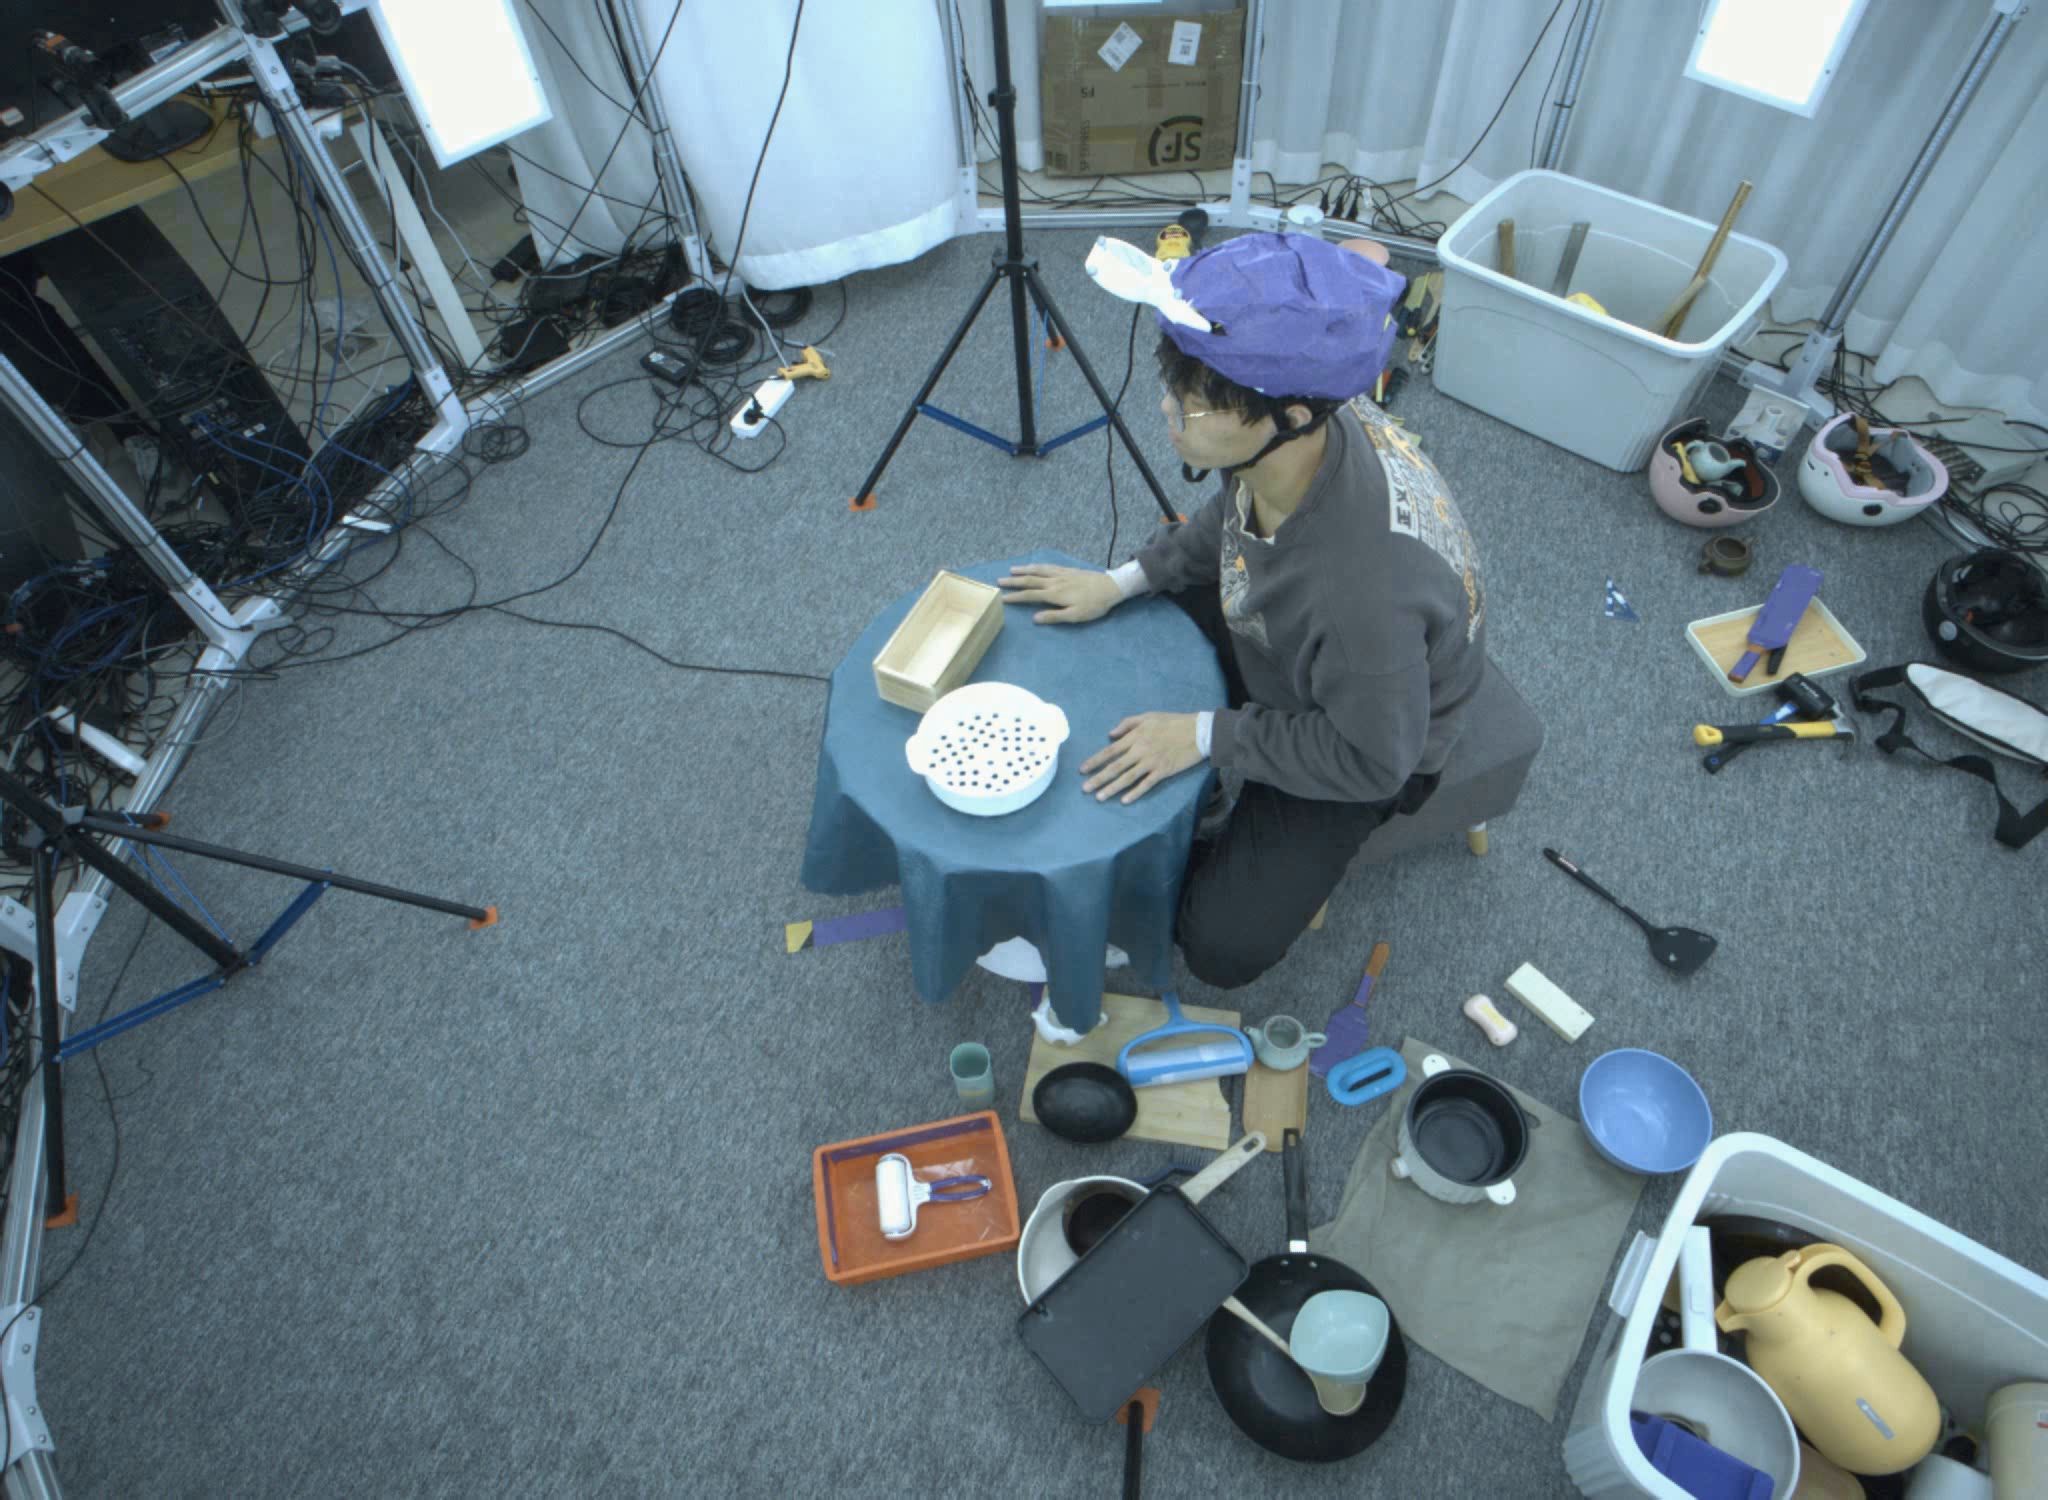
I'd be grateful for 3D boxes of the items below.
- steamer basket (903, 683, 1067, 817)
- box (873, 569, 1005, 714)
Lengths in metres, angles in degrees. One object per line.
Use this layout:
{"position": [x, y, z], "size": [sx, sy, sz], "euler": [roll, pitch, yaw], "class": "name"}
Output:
{"position": [-0.054, 0.002, 1.743], "size": [0.232, 0.070, 0.198], "euler": [-12, 55, -8], "class": "steamer basket"}
{"position": [-0.126, -0.162, 1.856], "size": [0.106, 0.081, 0.211], "euler": [21, 58, 16], "class": "box"}
